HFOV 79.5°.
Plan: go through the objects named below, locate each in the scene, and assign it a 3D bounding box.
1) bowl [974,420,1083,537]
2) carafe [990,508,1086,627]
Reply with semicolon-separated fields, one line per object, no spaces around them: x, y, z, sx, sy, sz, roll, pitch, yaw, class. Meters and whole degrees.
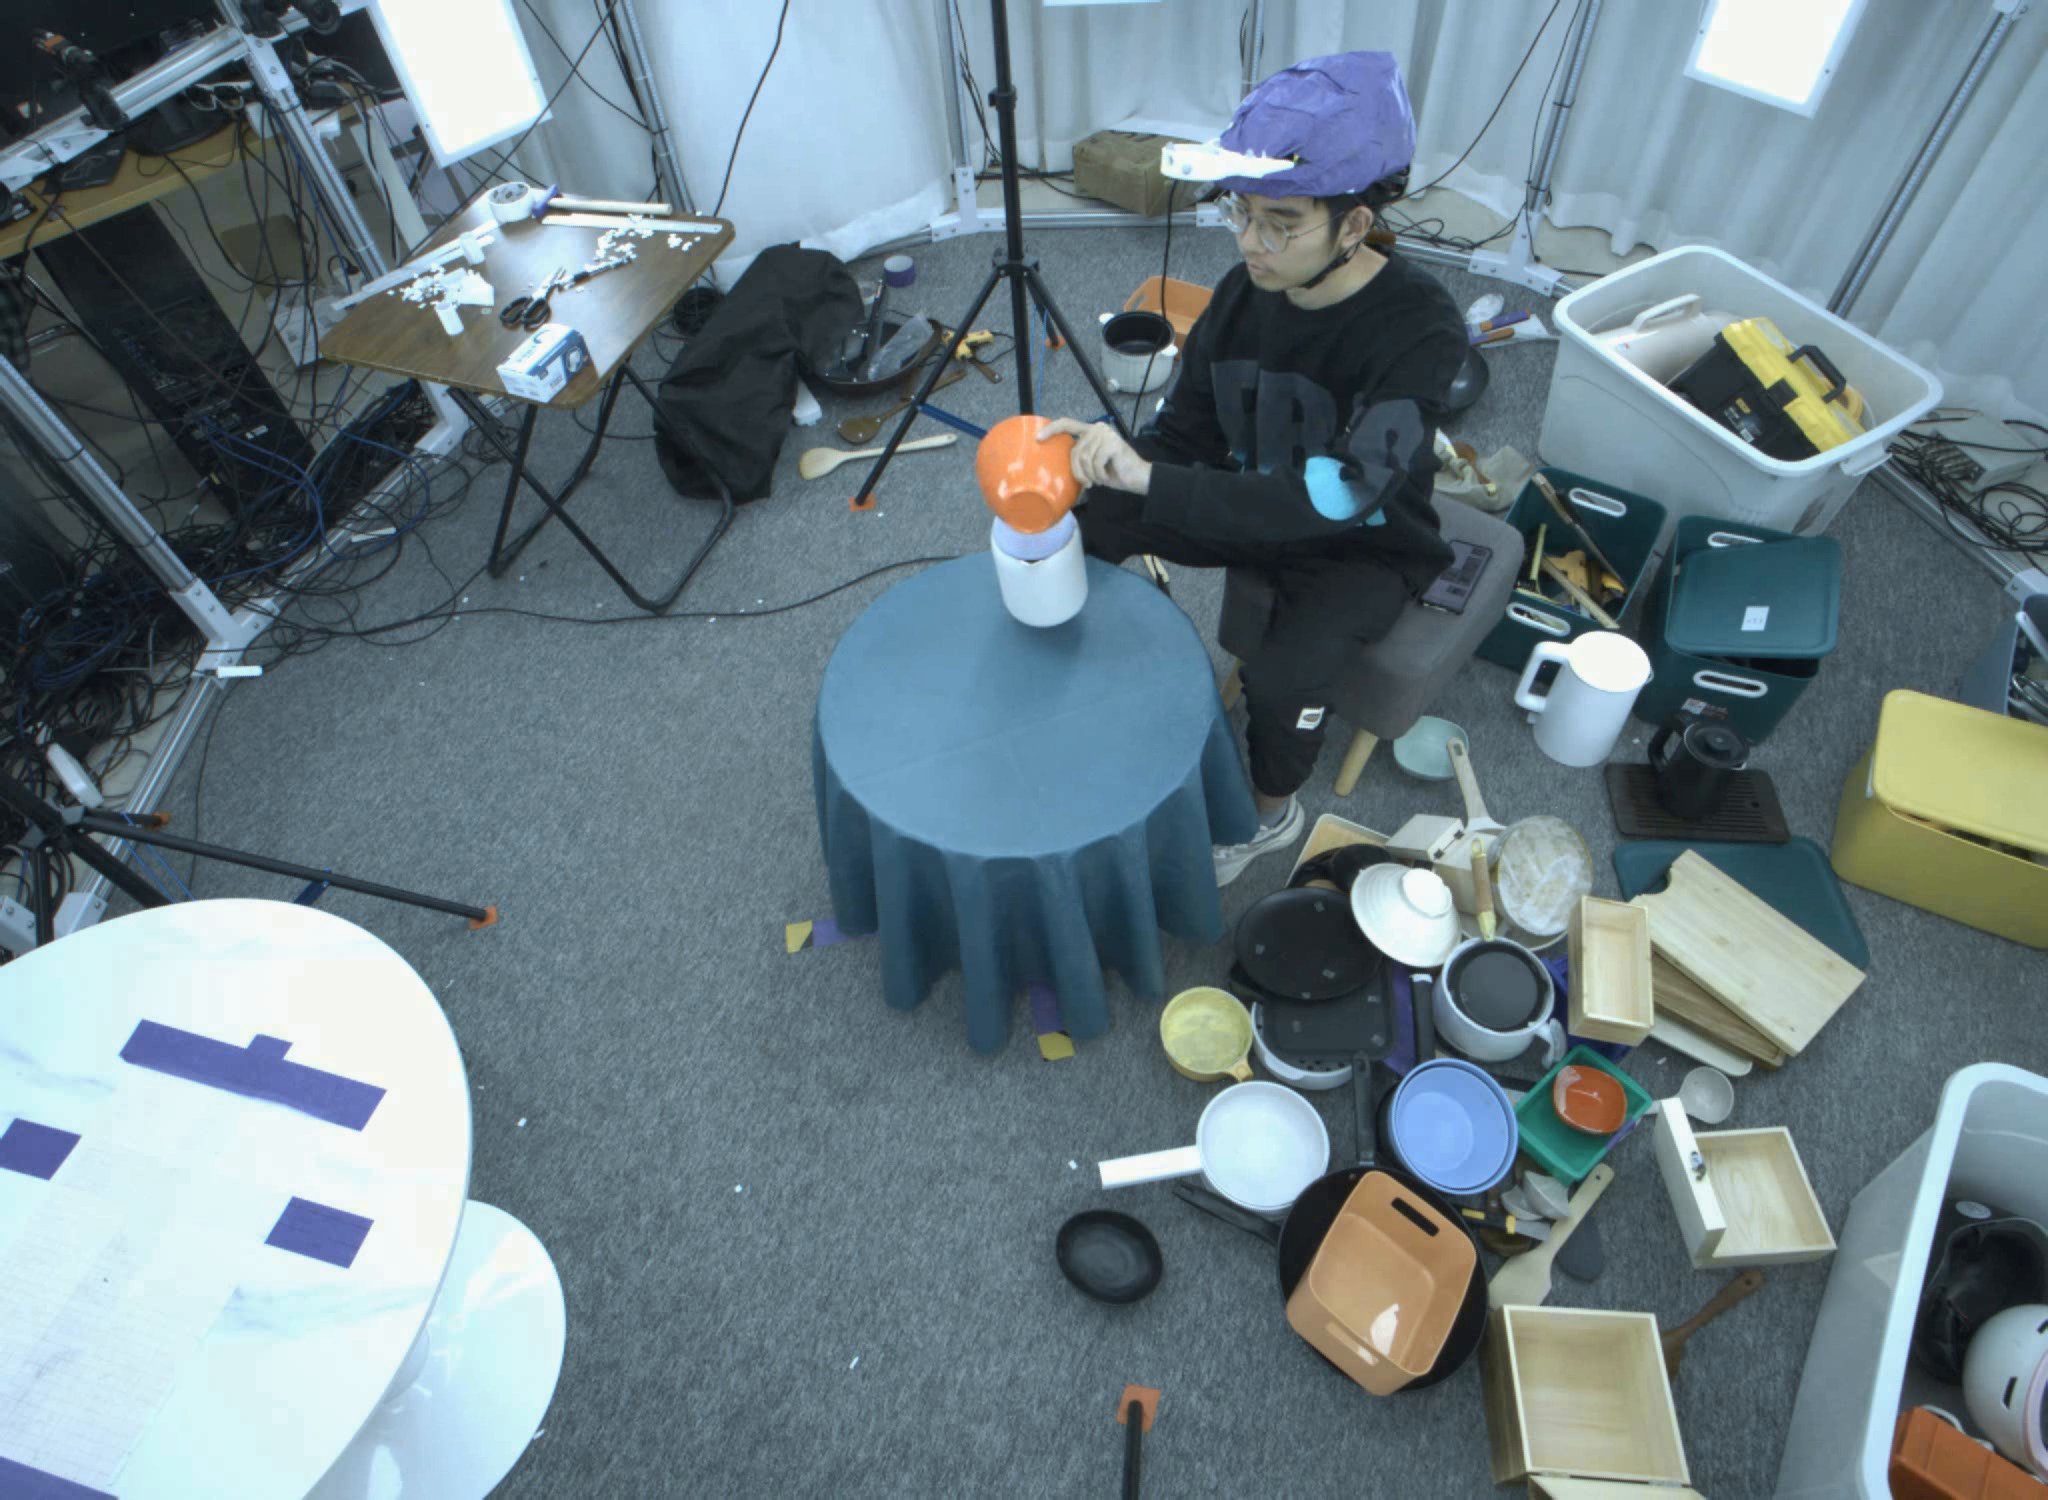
0.001;-0.345;1.602;0.148;0.149;0.103;1;45;4;bowl
0.021;-0.302;1.832;0.132;0.185;0.189;-3;59;4;carafe
